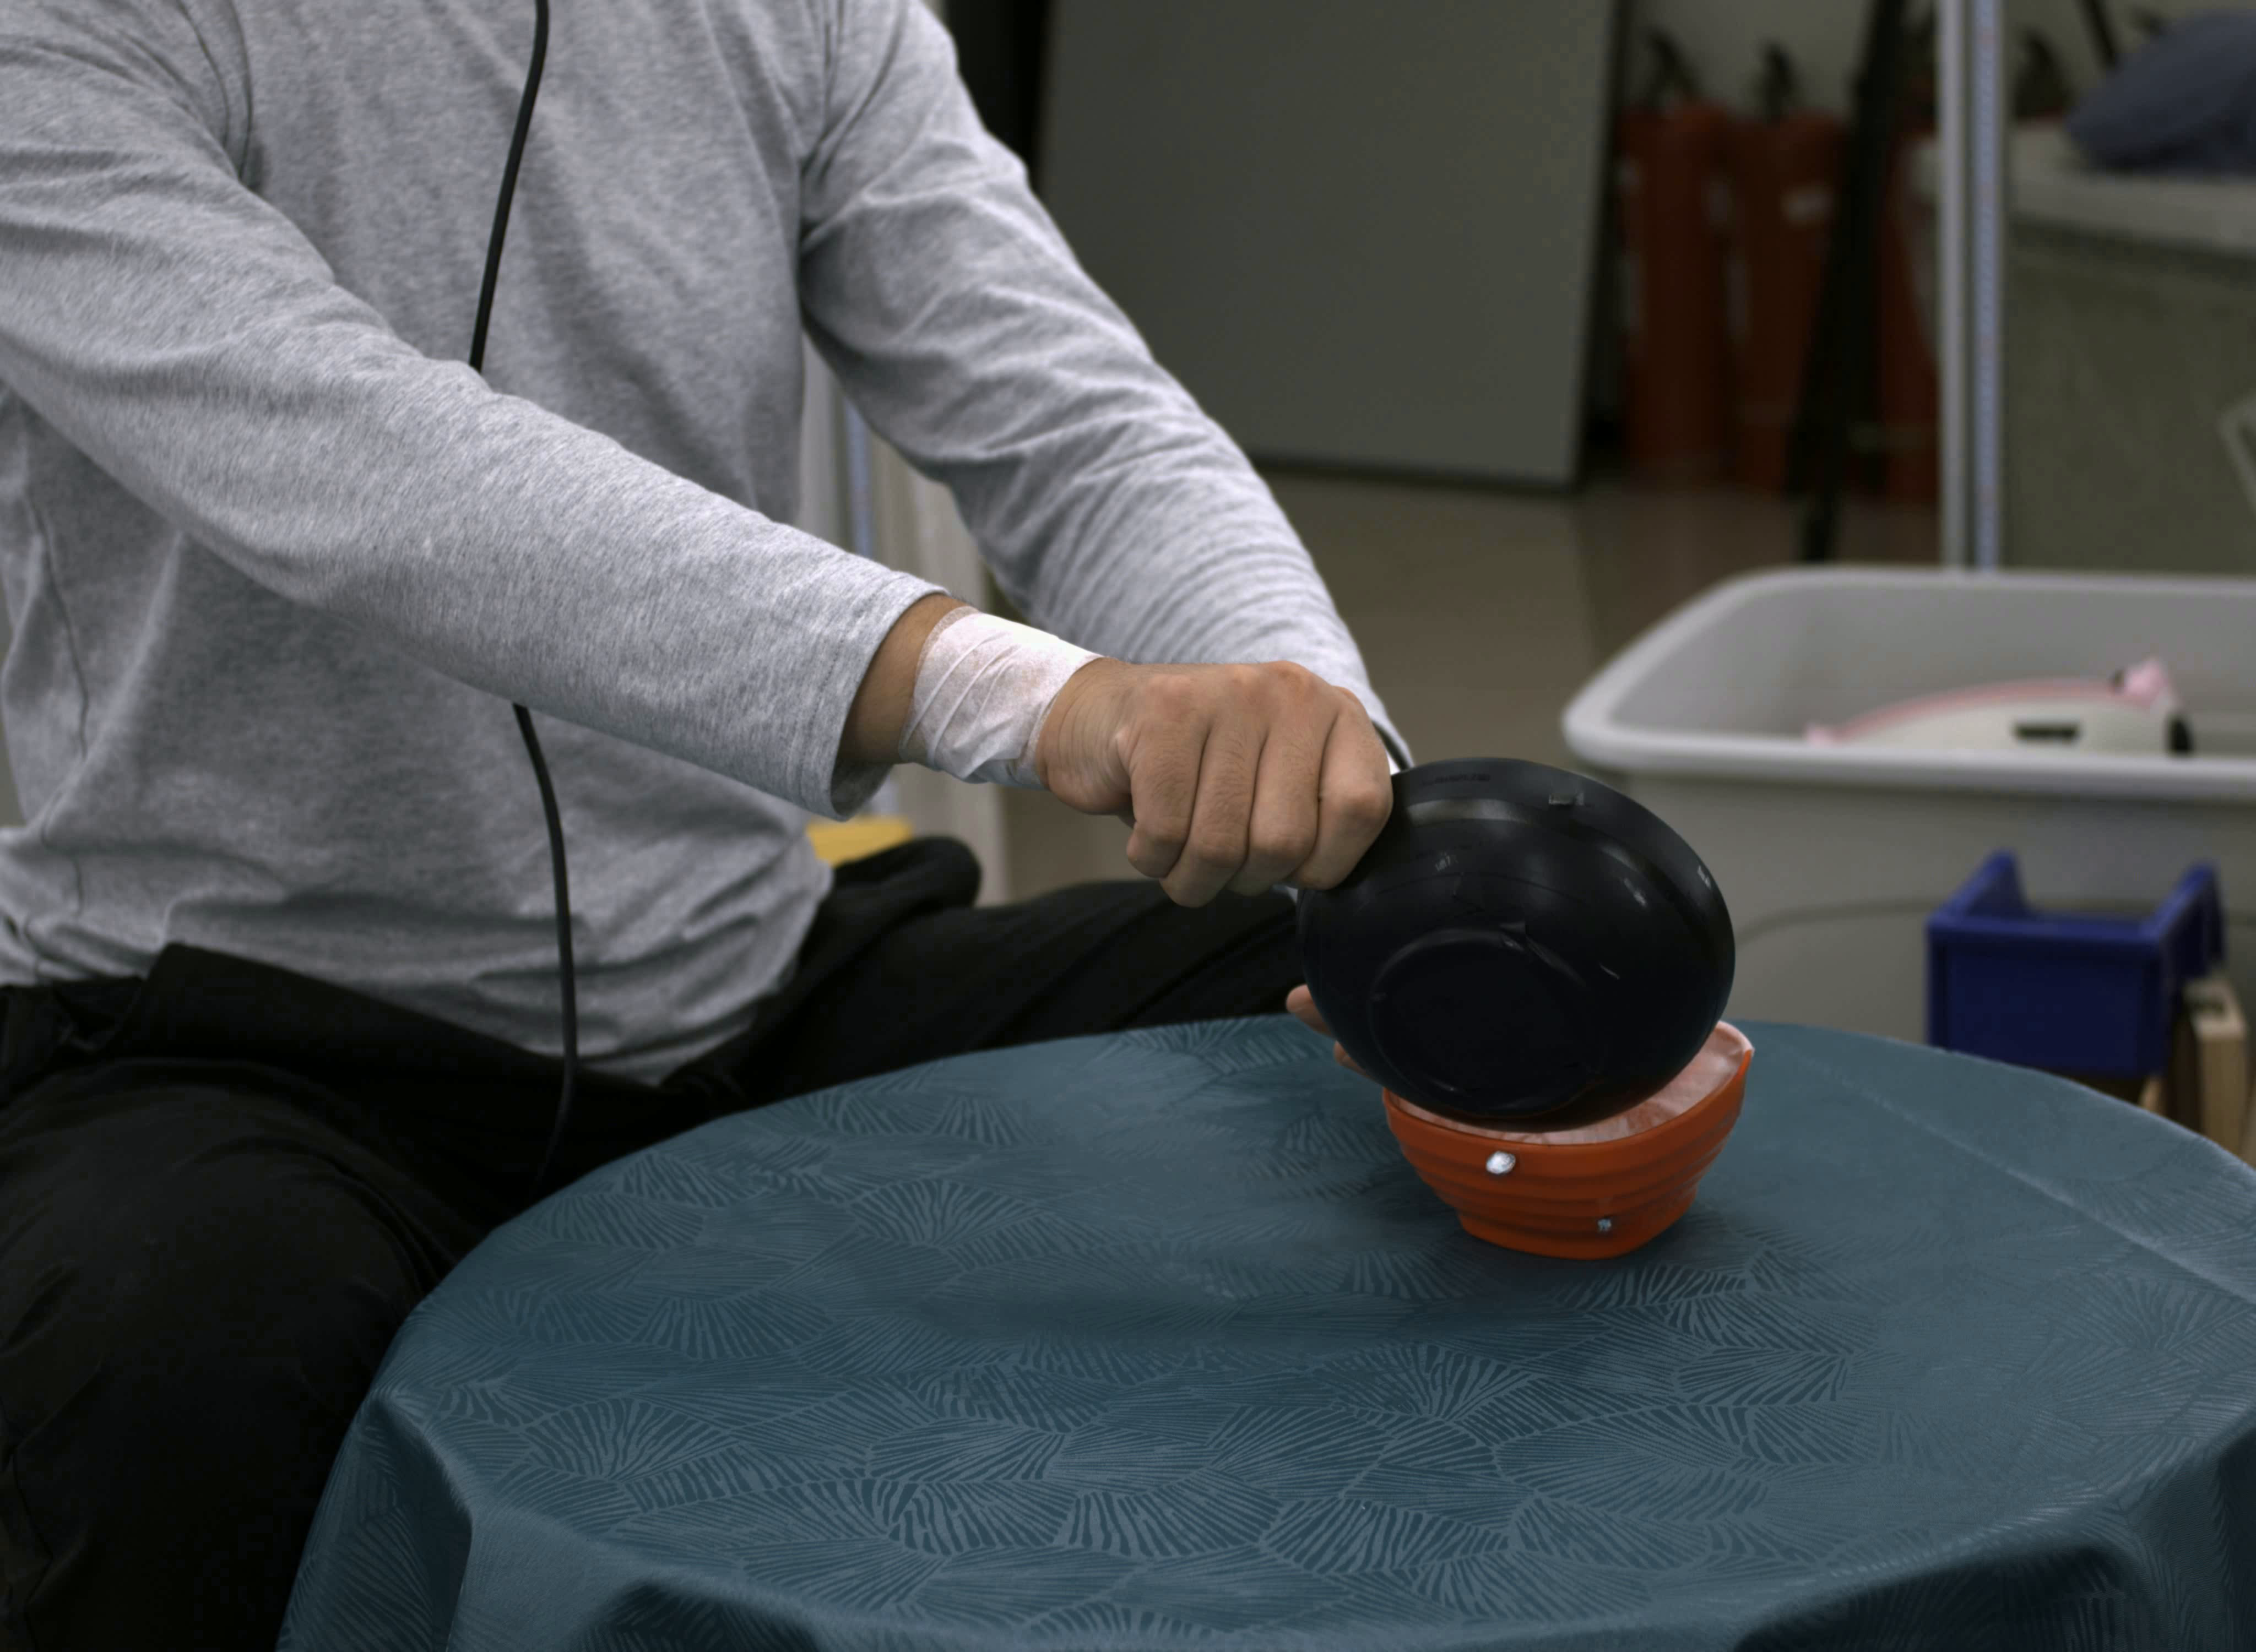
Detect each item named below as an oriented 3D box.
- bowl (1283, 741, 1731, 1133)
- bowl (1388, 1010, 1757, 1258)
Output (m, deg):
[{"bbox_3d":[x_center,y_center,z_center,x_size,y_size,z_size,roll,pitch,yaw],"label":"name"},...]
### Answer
[{"bbox_3d":[0.112,0.045,1.636,0.139,0.140,0.050,0,37,14],"label":"bowl"},{"bbox_3d":[0.142,0.097,1.702,0.117,0.052,0.119,-5,21,1],"label":"bowl"}]
